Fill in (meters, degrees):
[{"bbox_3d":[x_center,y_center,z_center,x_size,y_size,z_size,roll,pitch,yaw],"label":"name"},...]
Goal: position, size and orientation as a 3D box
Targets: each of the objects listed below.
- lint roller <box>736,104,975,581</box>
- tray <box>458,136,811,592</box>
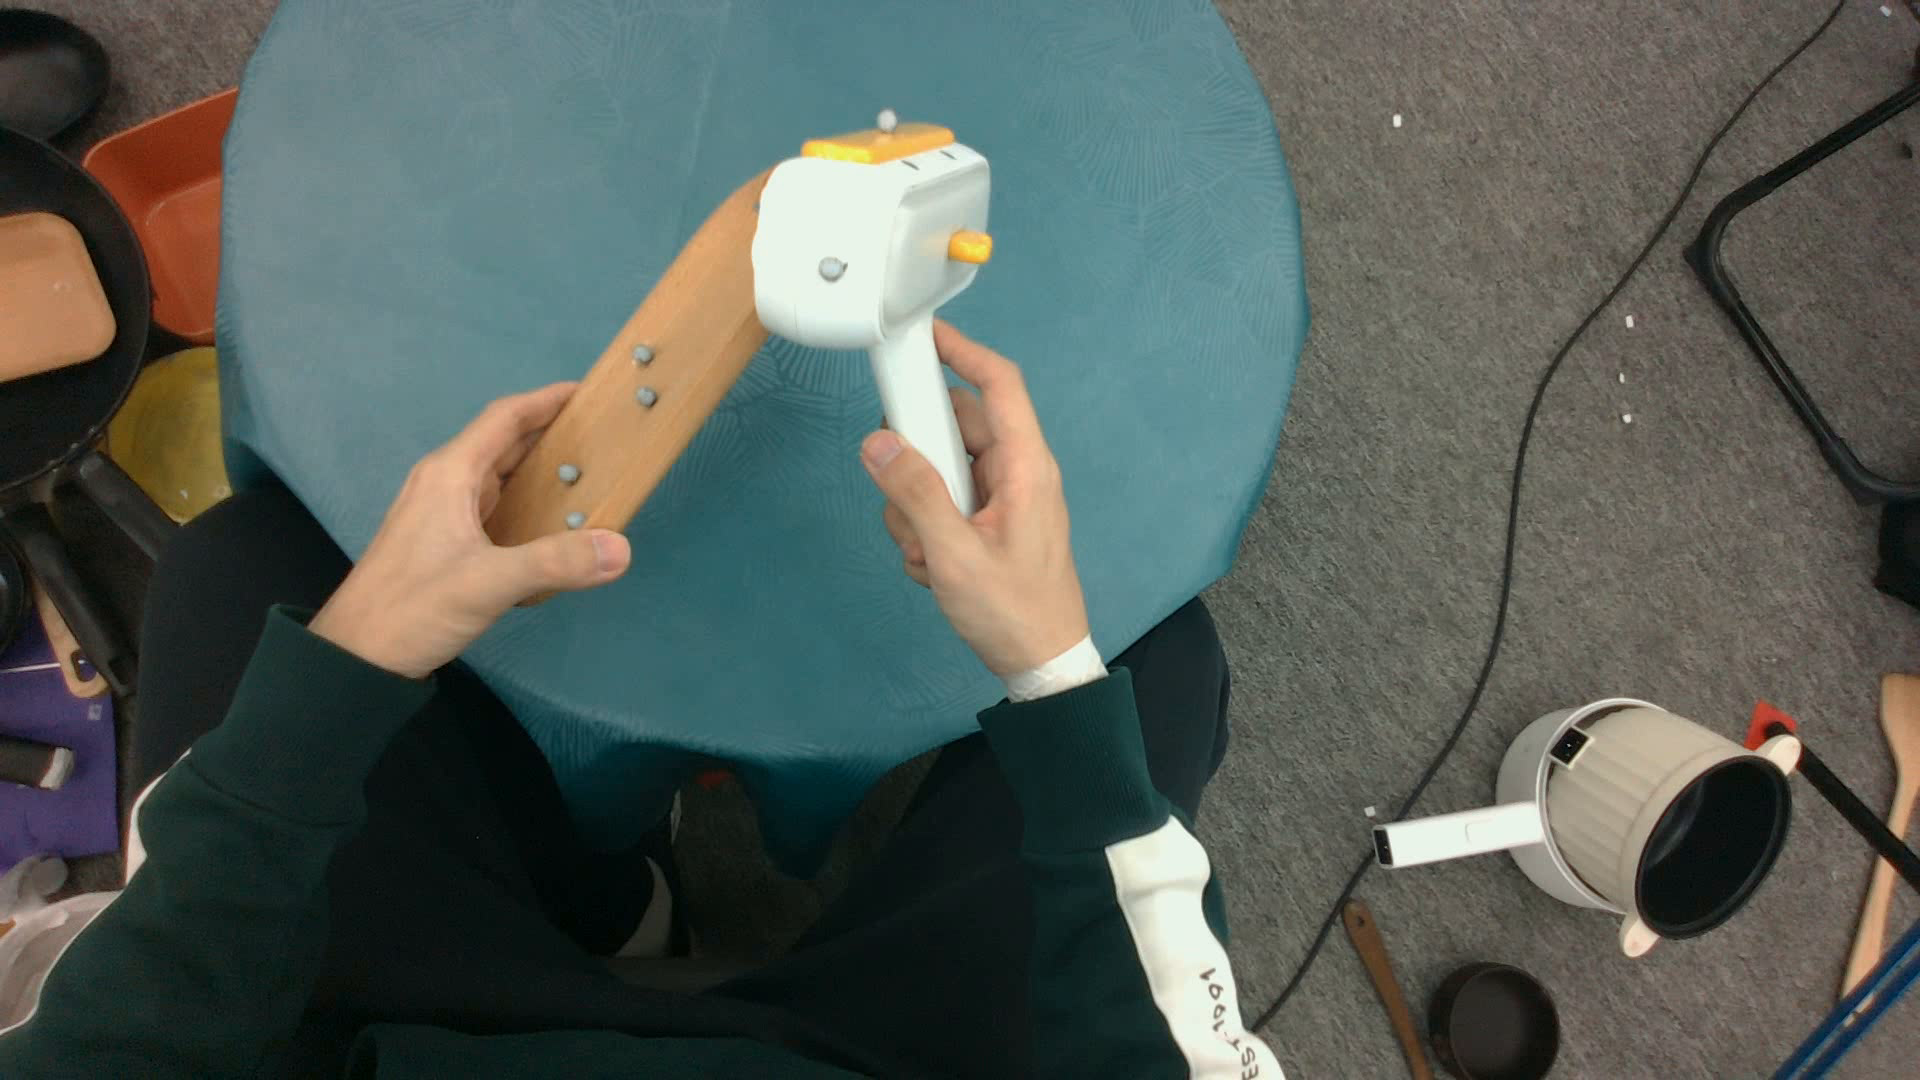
[{"bbox_3d":[-0.028,-0.073,0.567,0.074,0.193,0.192,1,114,8],"label":"lint roller"},{"bbox_3d":[-0.135,-0.077,0.583,0.020,0.101,0.231,42,77,-38],"label":"tray"}]
